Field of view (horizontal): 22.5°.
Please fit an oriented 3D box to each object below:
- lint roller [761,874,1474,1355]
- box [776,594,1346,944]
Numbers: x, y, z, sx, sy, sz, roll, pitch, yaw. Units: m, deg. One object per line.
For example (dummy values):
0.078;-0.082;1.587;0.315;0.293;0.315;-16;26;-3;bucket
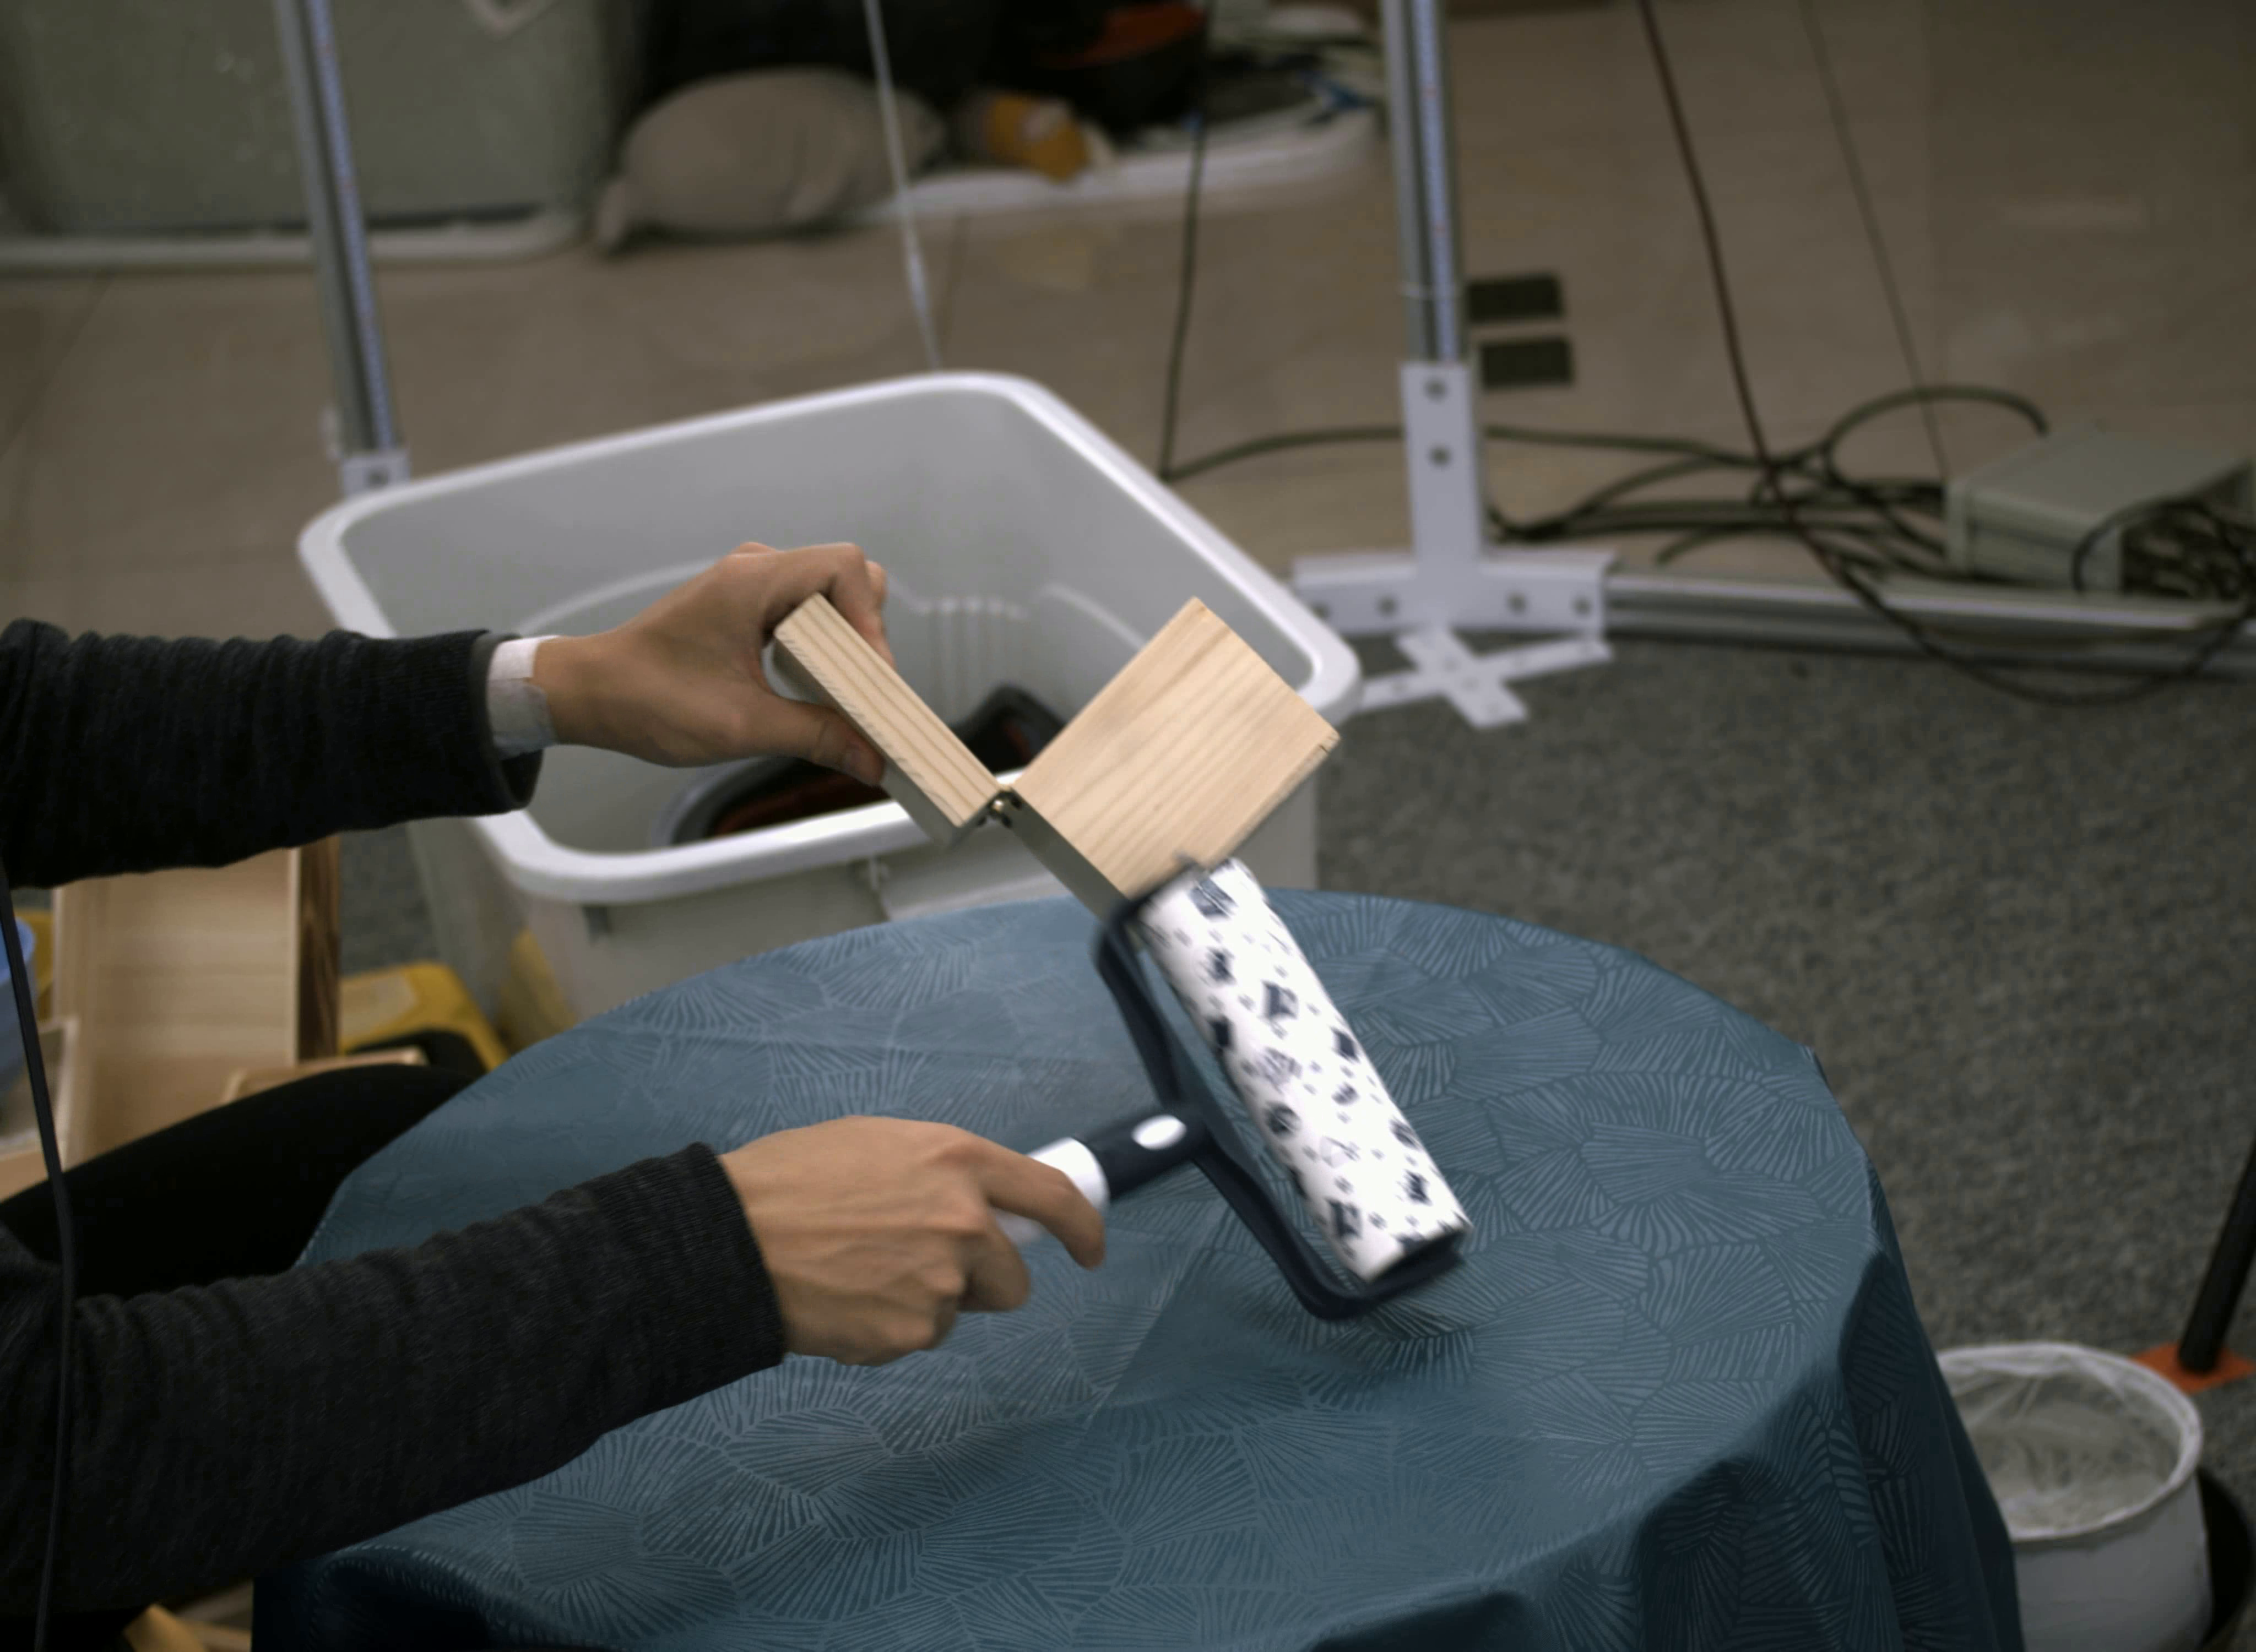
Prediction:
-0.017;0.129;1.997;0.245;0.051;0.174;-22;69;-27;lint roller
-0.027;-0.048;2.155;0.133;0.184;0.103;-46;-1;-7;box
